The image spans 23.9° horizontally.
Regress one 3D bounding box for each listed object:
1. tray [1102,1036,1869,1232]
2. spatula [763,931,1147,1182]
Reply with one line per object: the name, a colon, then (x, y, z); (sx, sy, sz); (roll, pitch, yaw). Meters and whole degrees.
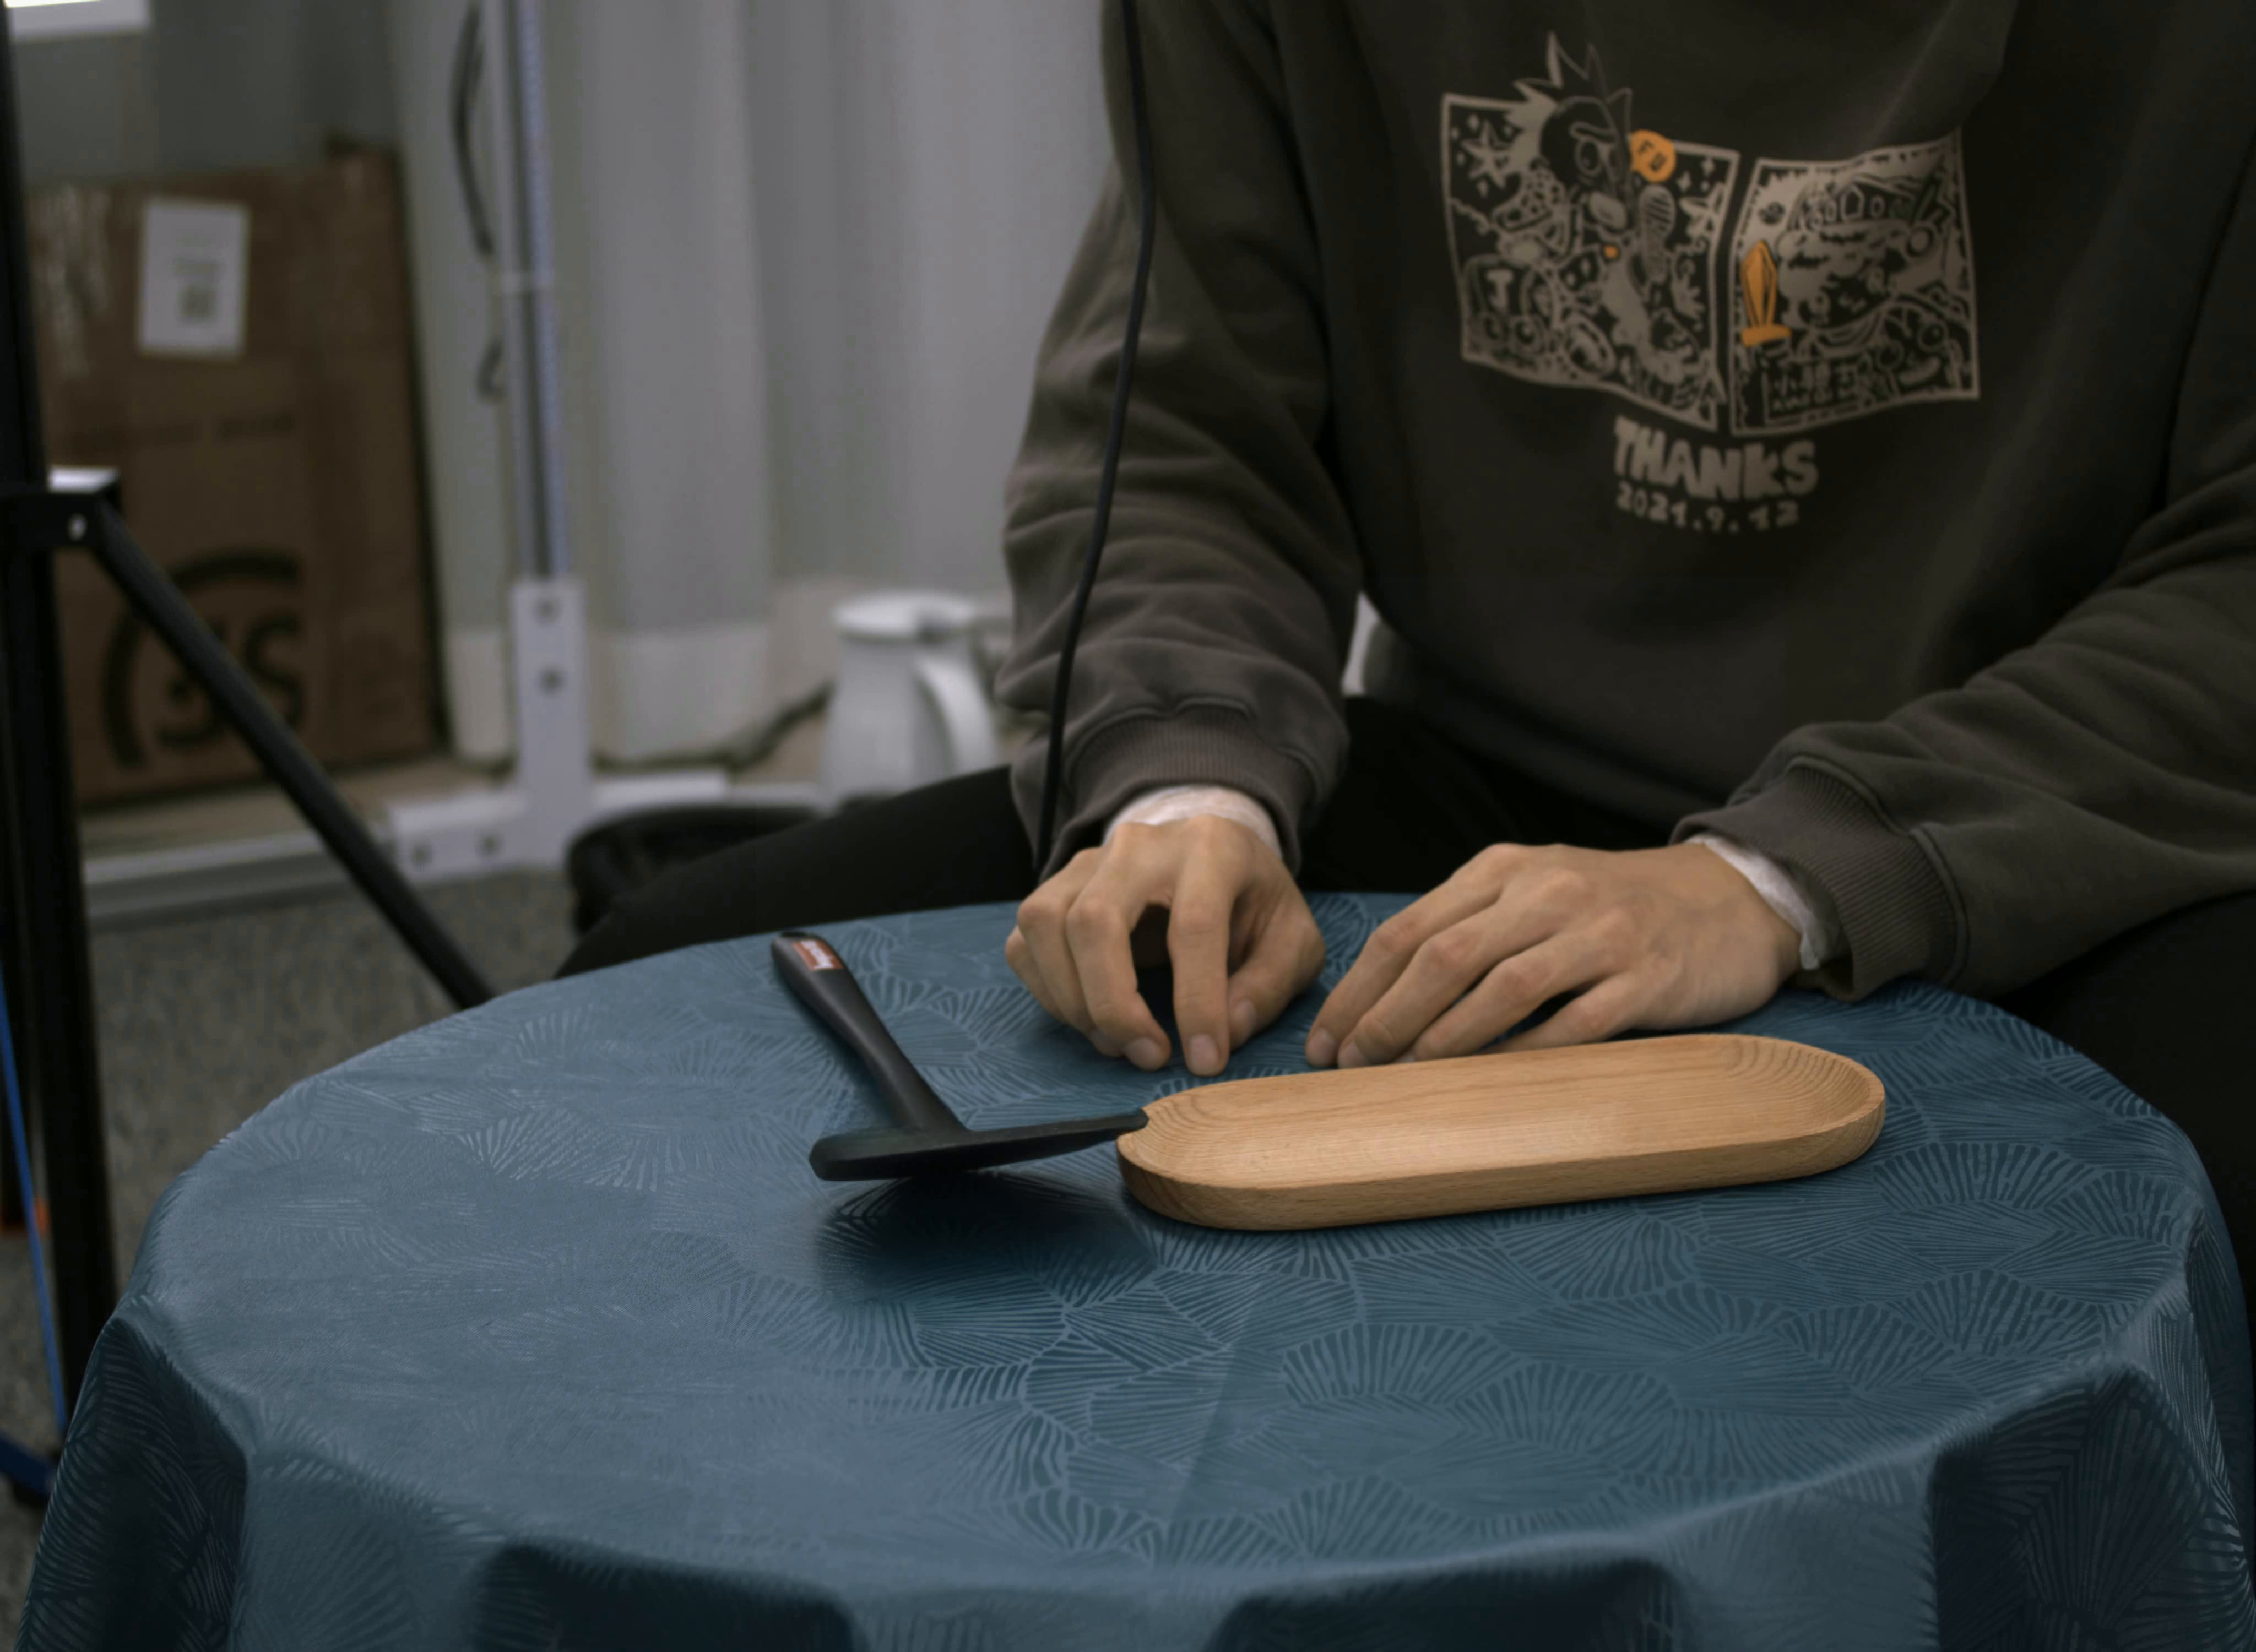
tray: (0.107, 0.092, 1.572); (0.228, 0.020, 0.103); (-6, 16, -8)
spatula: (-0.078, 0.066, 1.657); (0.098, 0.040, 0.331); (-5, 16, -13)
